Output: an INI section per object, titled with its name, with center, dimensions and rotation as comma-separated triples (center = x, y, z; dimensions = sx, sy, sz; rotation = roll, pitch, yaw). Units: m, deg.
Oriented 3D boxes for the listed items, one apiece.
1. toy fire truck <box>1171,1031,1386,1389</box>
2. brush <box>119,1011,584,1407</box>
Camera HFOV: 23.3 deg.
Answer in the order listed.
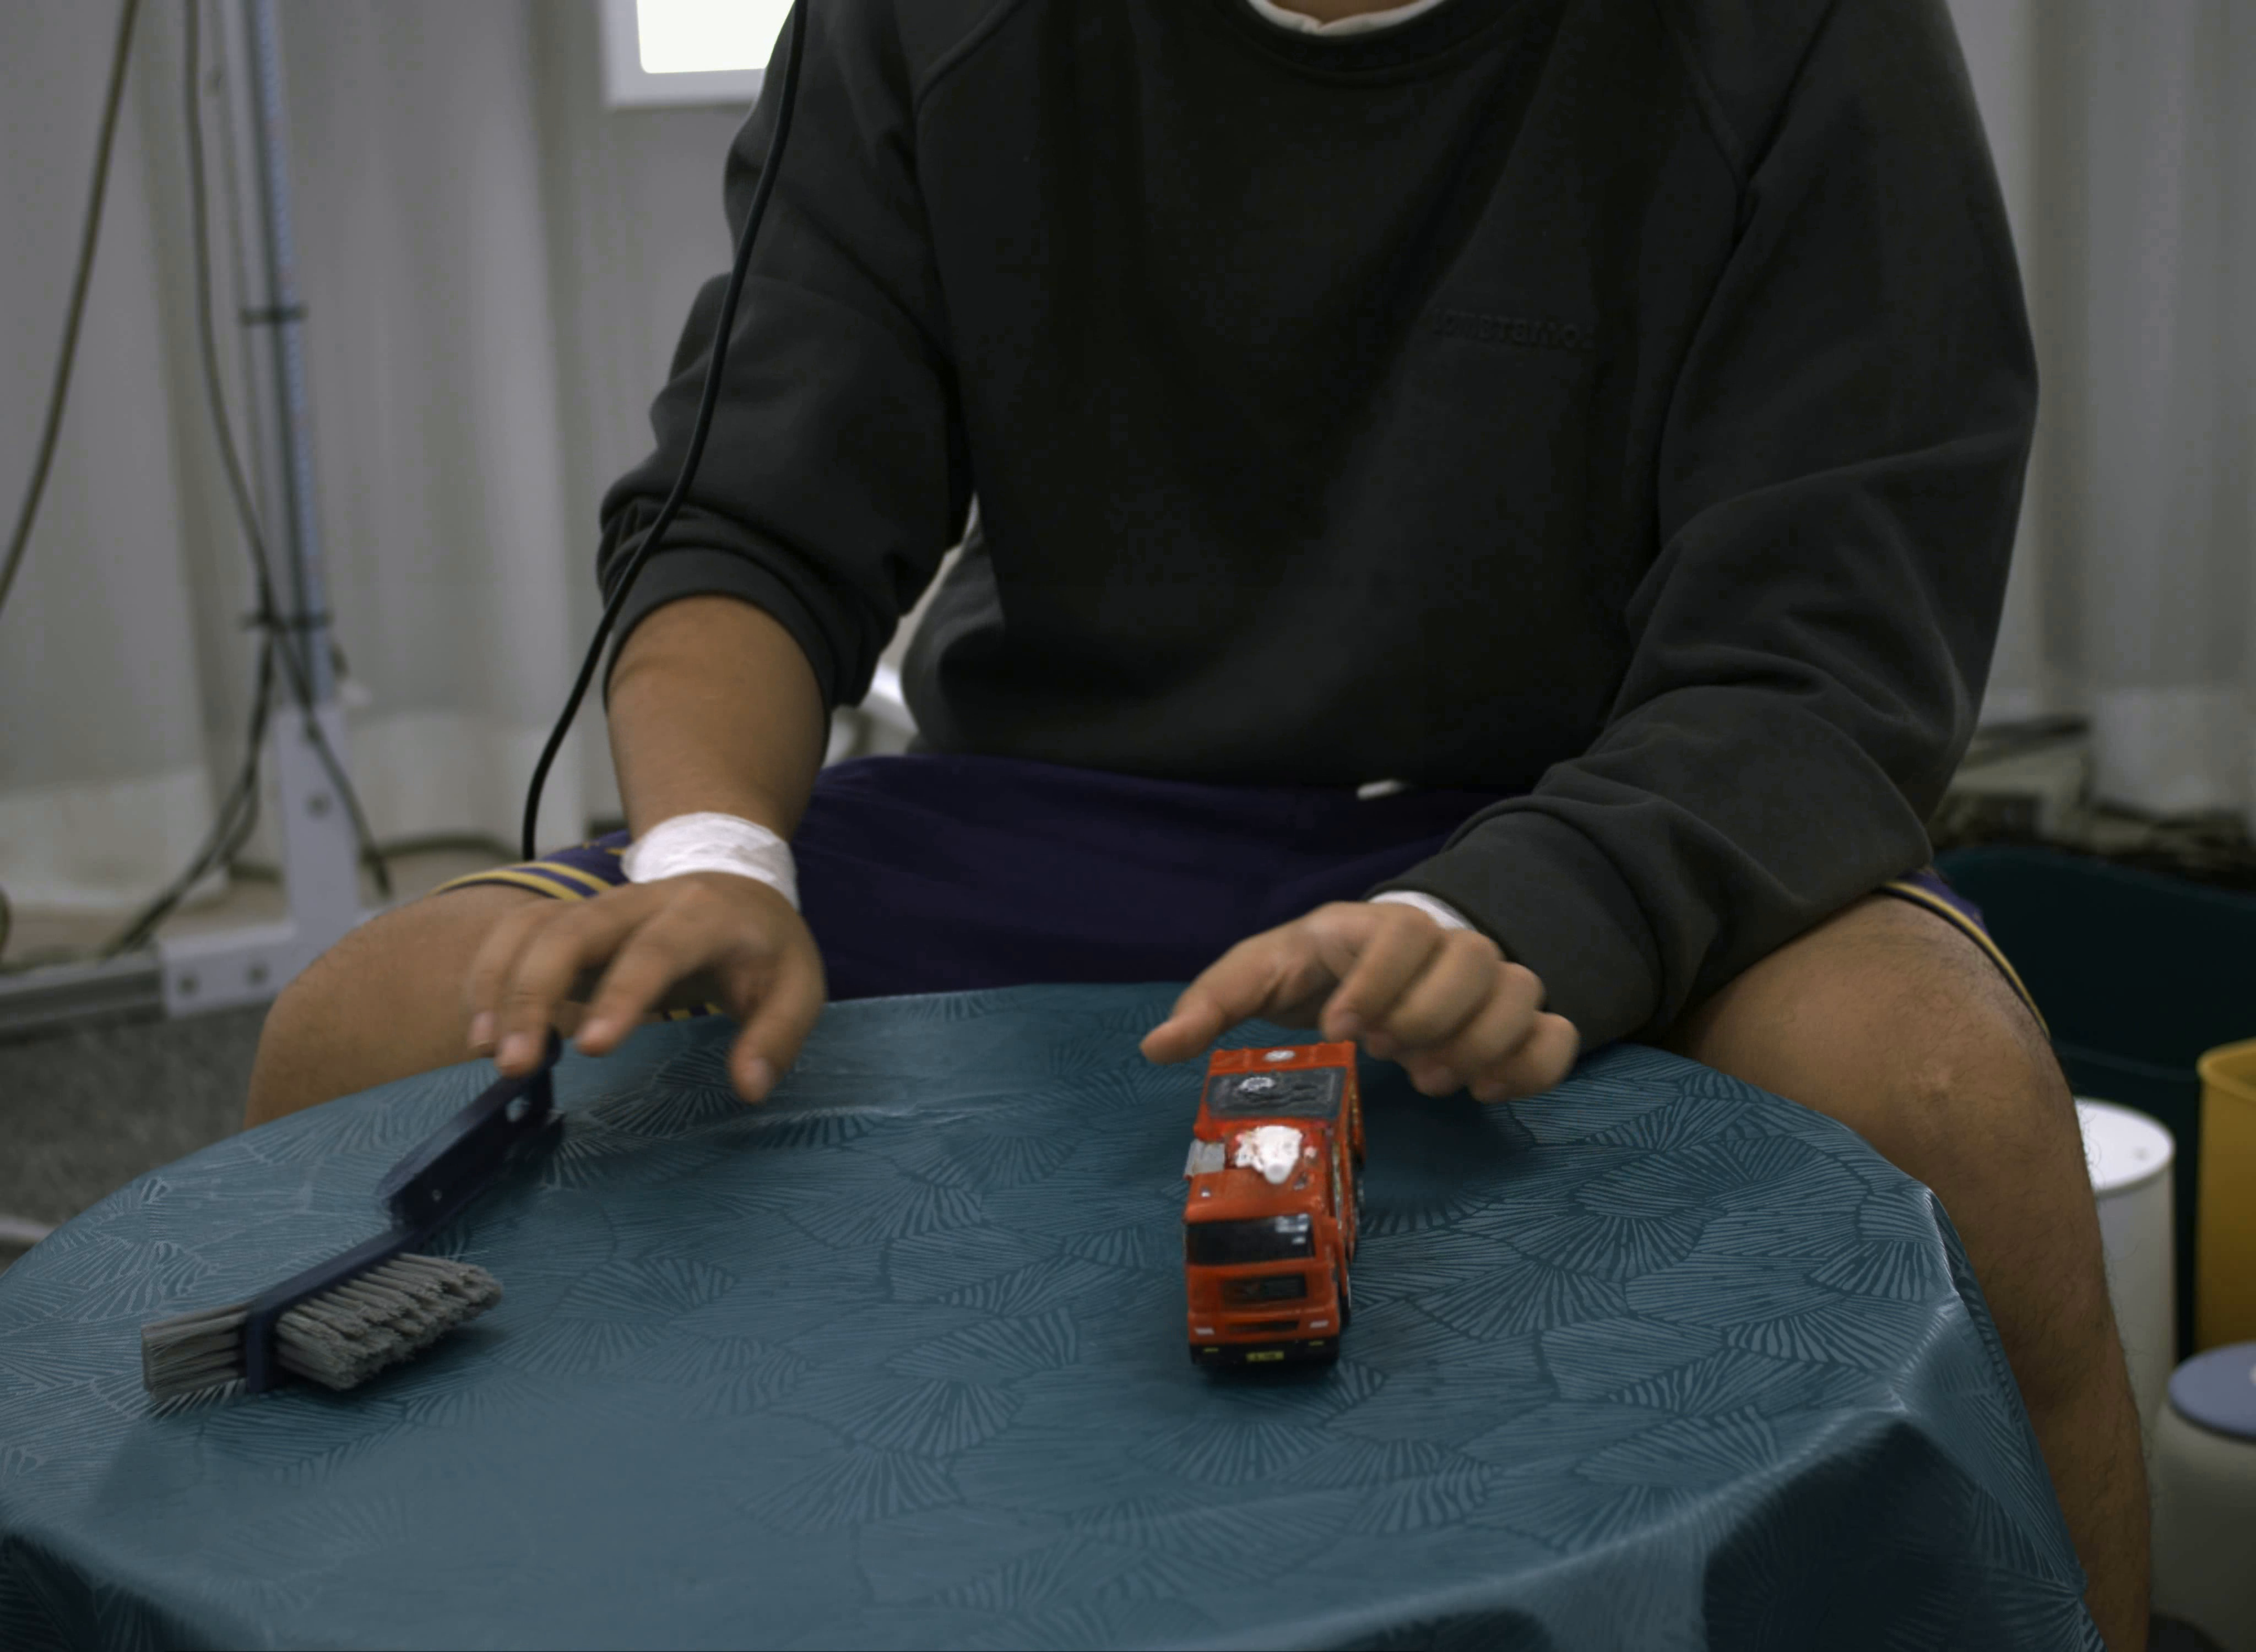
[toy fire truck]
center = 0.045, 0.110, 1.609
dimensions = 0.054, 0.070, 0.169
rotation = -4, 14, 7
[brush]
center = -0.229, 0.116, 1.693
dimensions = 0.095, 0.033, 0.275
rotation = 0, 16, 7
